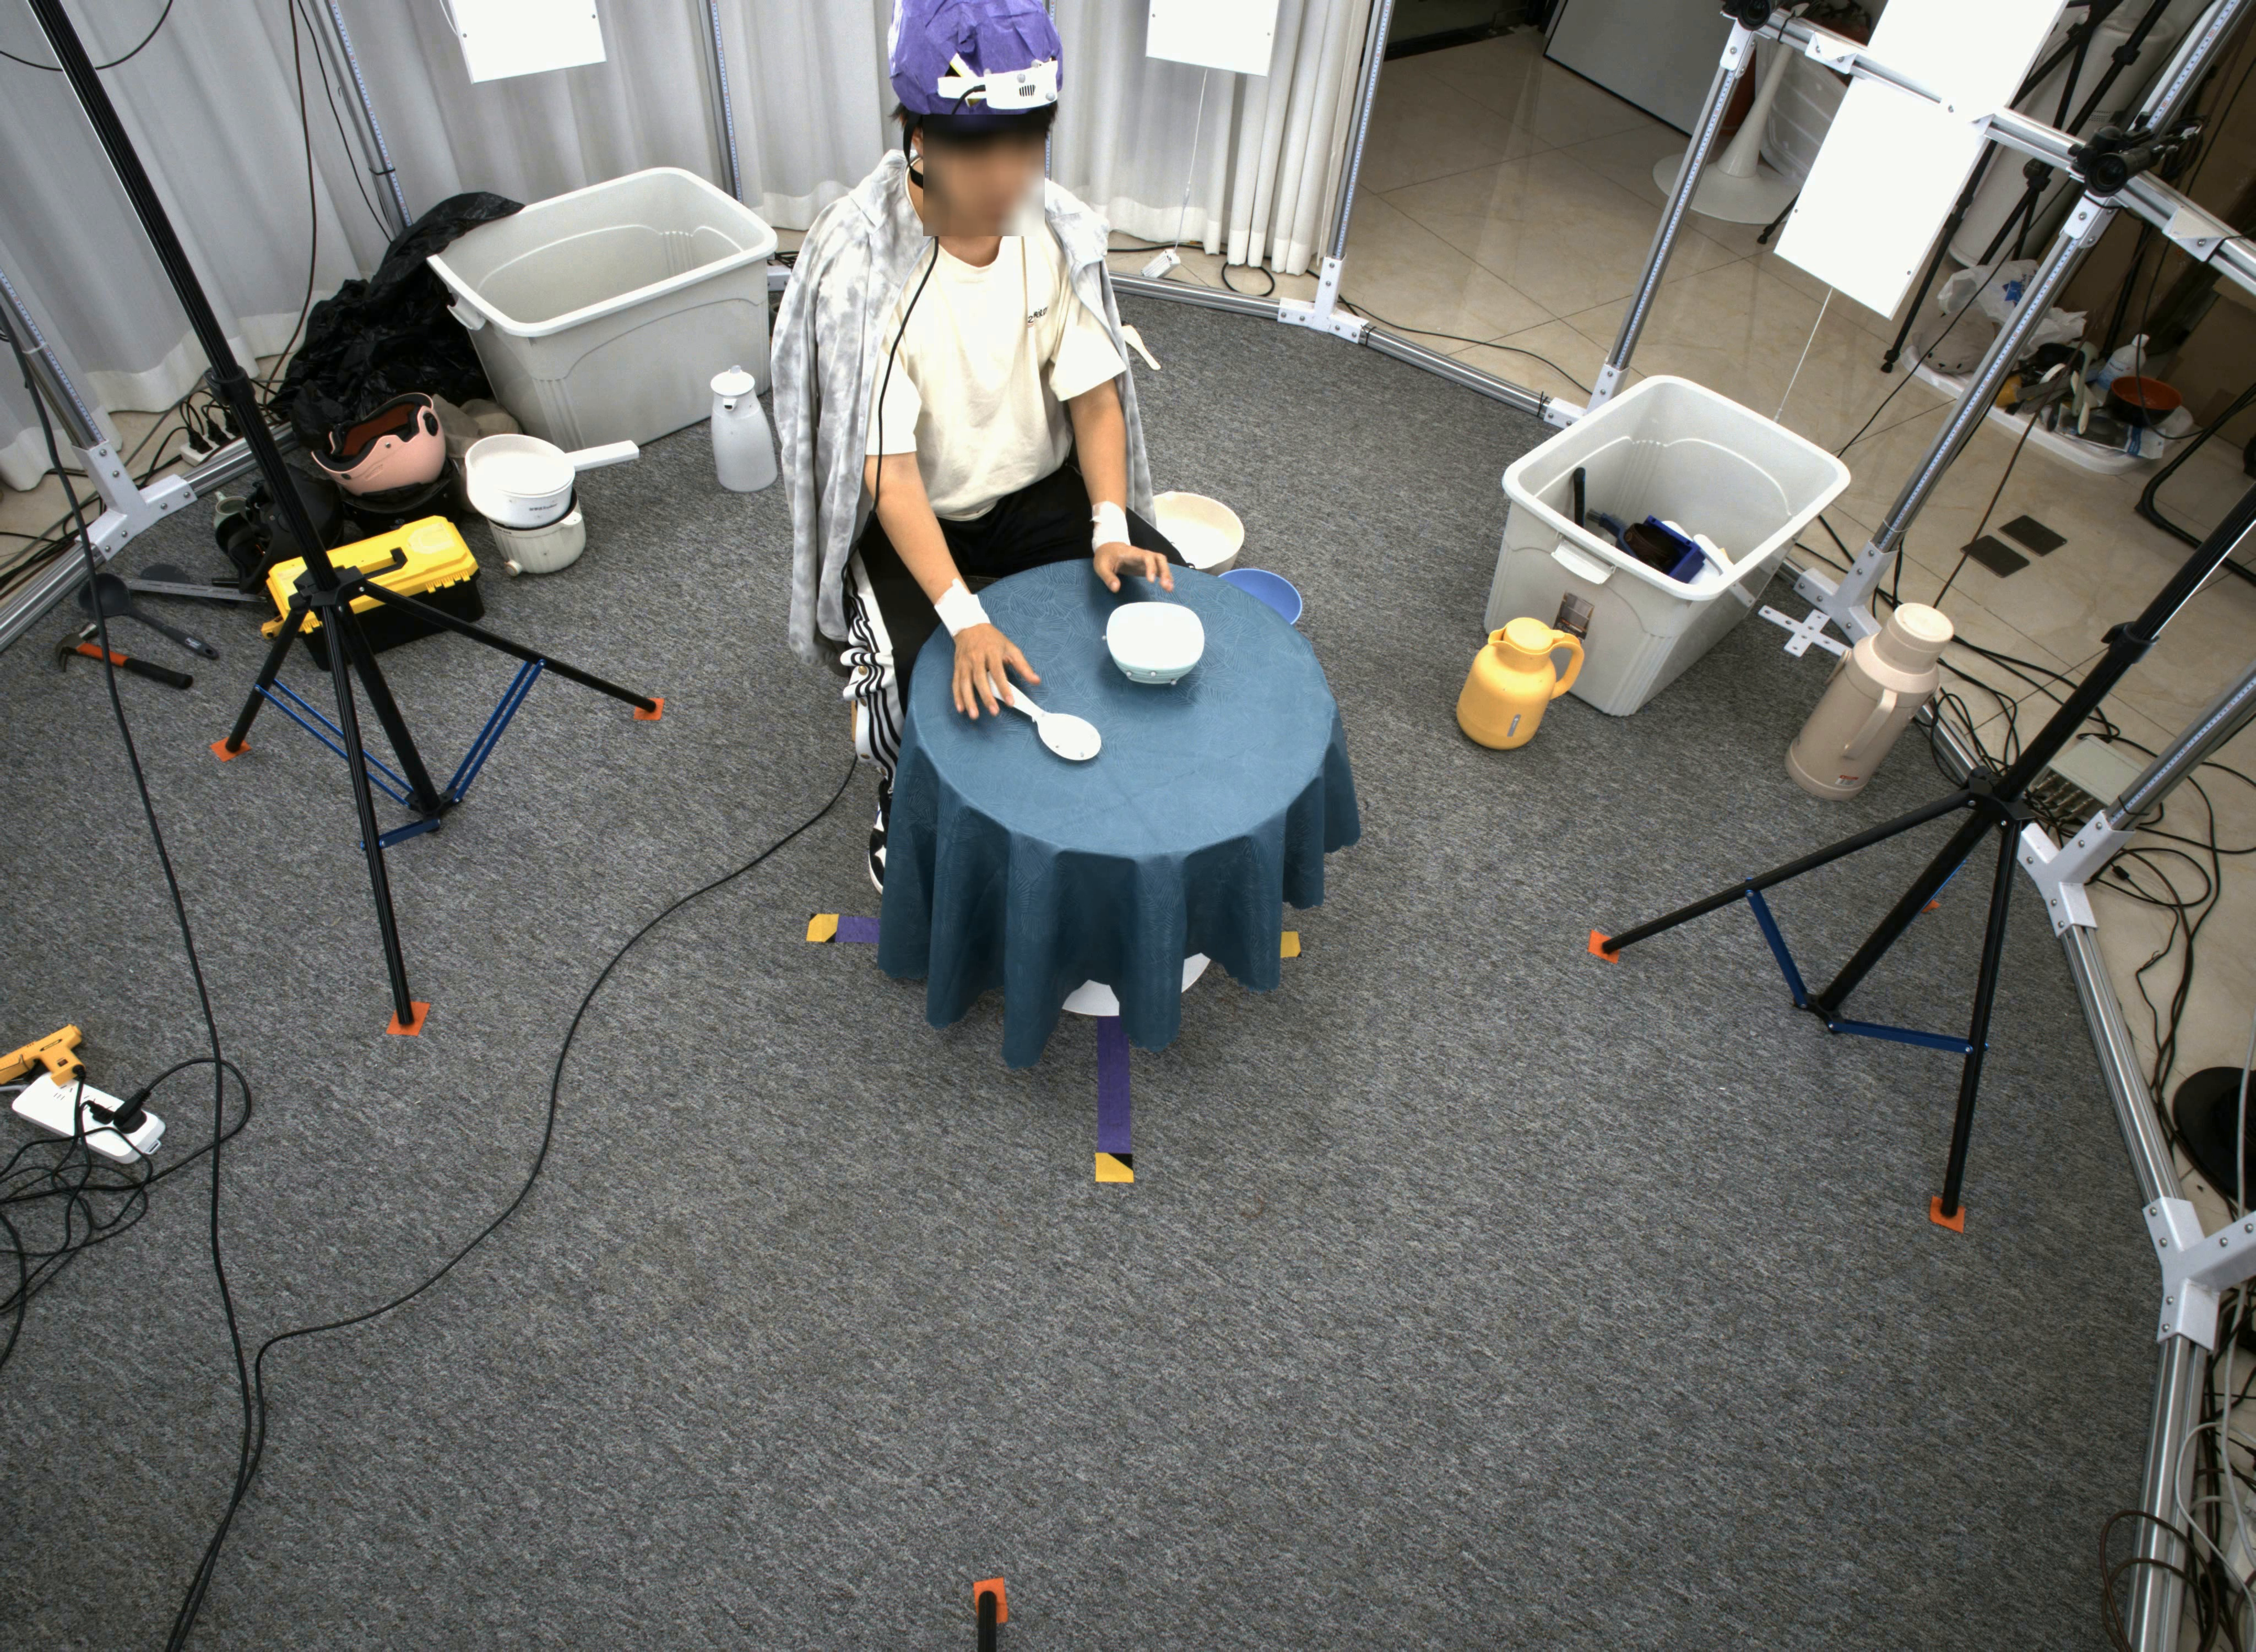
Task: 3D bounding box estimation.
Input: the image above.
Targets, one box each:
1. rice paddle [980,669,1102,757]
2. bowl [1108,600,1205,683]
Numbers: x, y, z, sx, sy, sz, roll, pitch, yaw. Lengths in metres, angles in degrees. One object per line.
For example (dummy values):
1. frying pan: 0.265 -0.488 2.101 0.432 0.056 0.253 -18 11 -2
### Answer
1. rice paddle: -0.120 -0.155 1.767 0.208 0.029 0.069 34 57 24
2. bowl: 0.040 -0.256 1.848 0.151 0.057 0.155 0 52 -1
